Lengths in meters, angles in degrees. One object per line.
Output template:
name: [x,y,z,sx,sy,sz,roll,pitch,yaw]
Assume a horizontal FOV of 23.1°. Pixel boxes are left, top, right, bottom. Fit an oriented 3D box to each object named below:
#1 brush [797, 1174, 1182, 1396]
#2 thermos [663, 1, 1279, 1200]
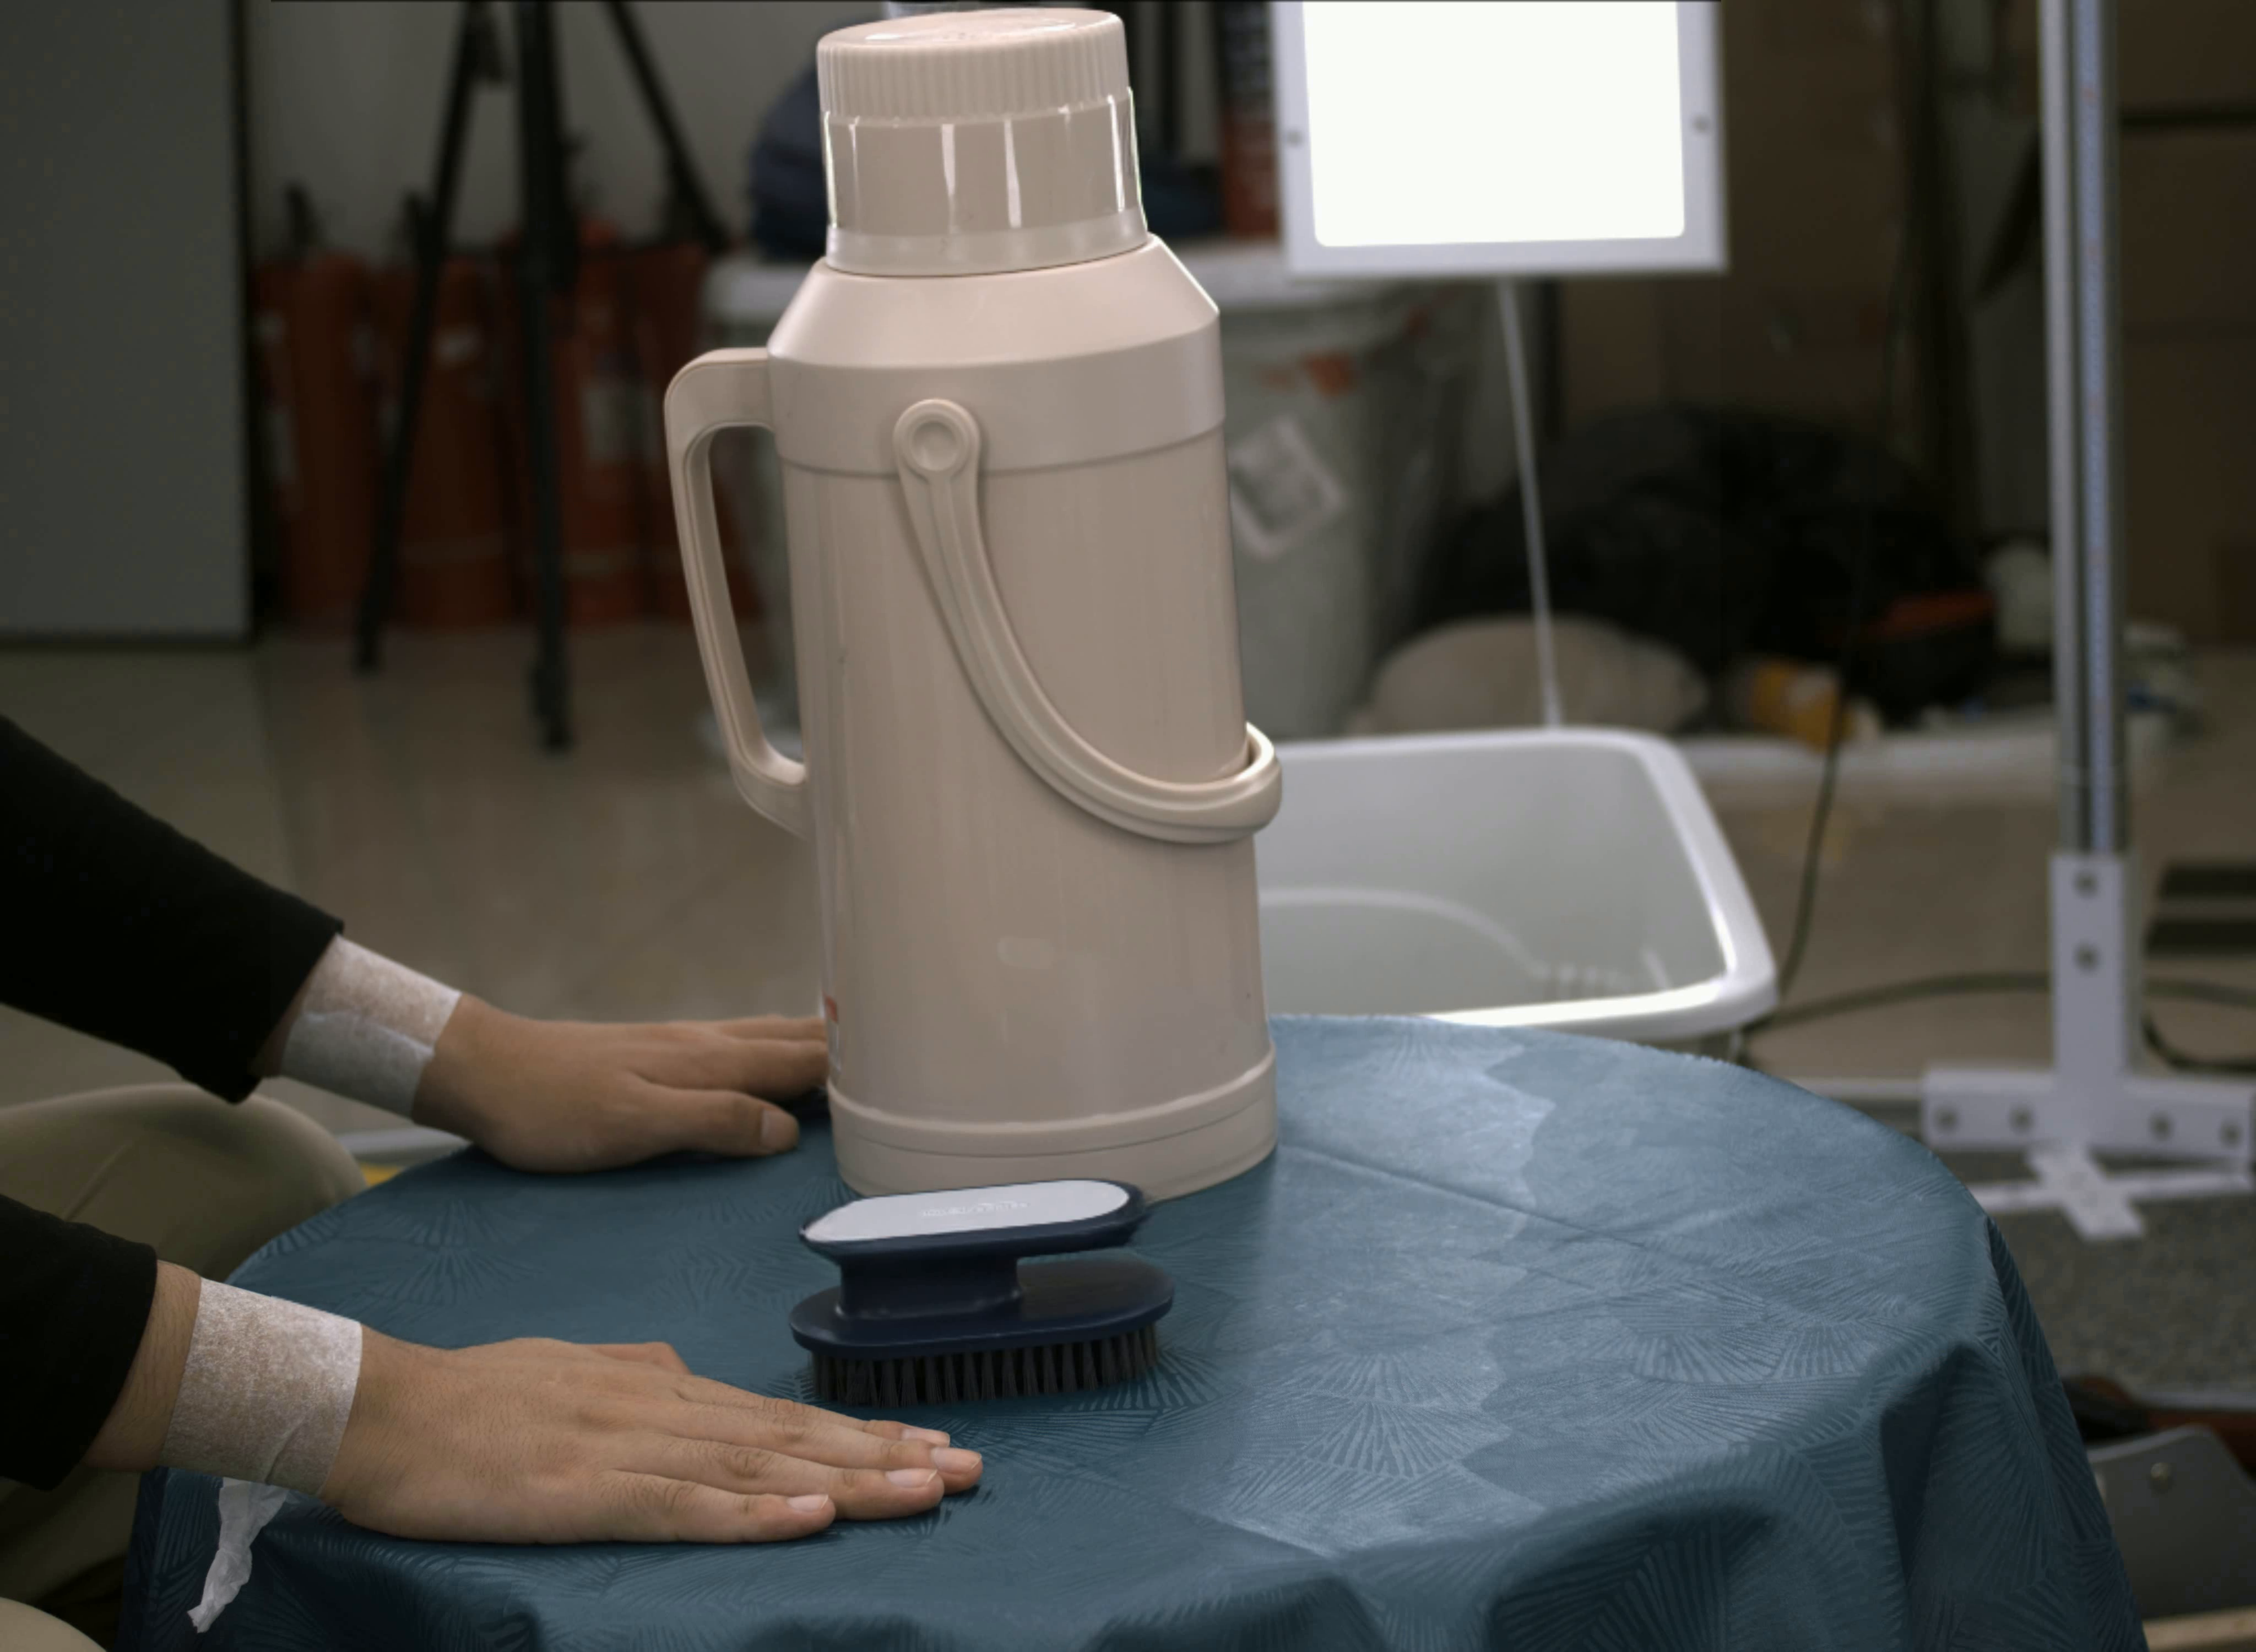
brush: [-0.043,0.145,1.723,0.121,0.061,0.068,-5,11,1]
thermos: [-0.054,-0.077,1.913,0.209,0.408,0.173,-1,16,14]
